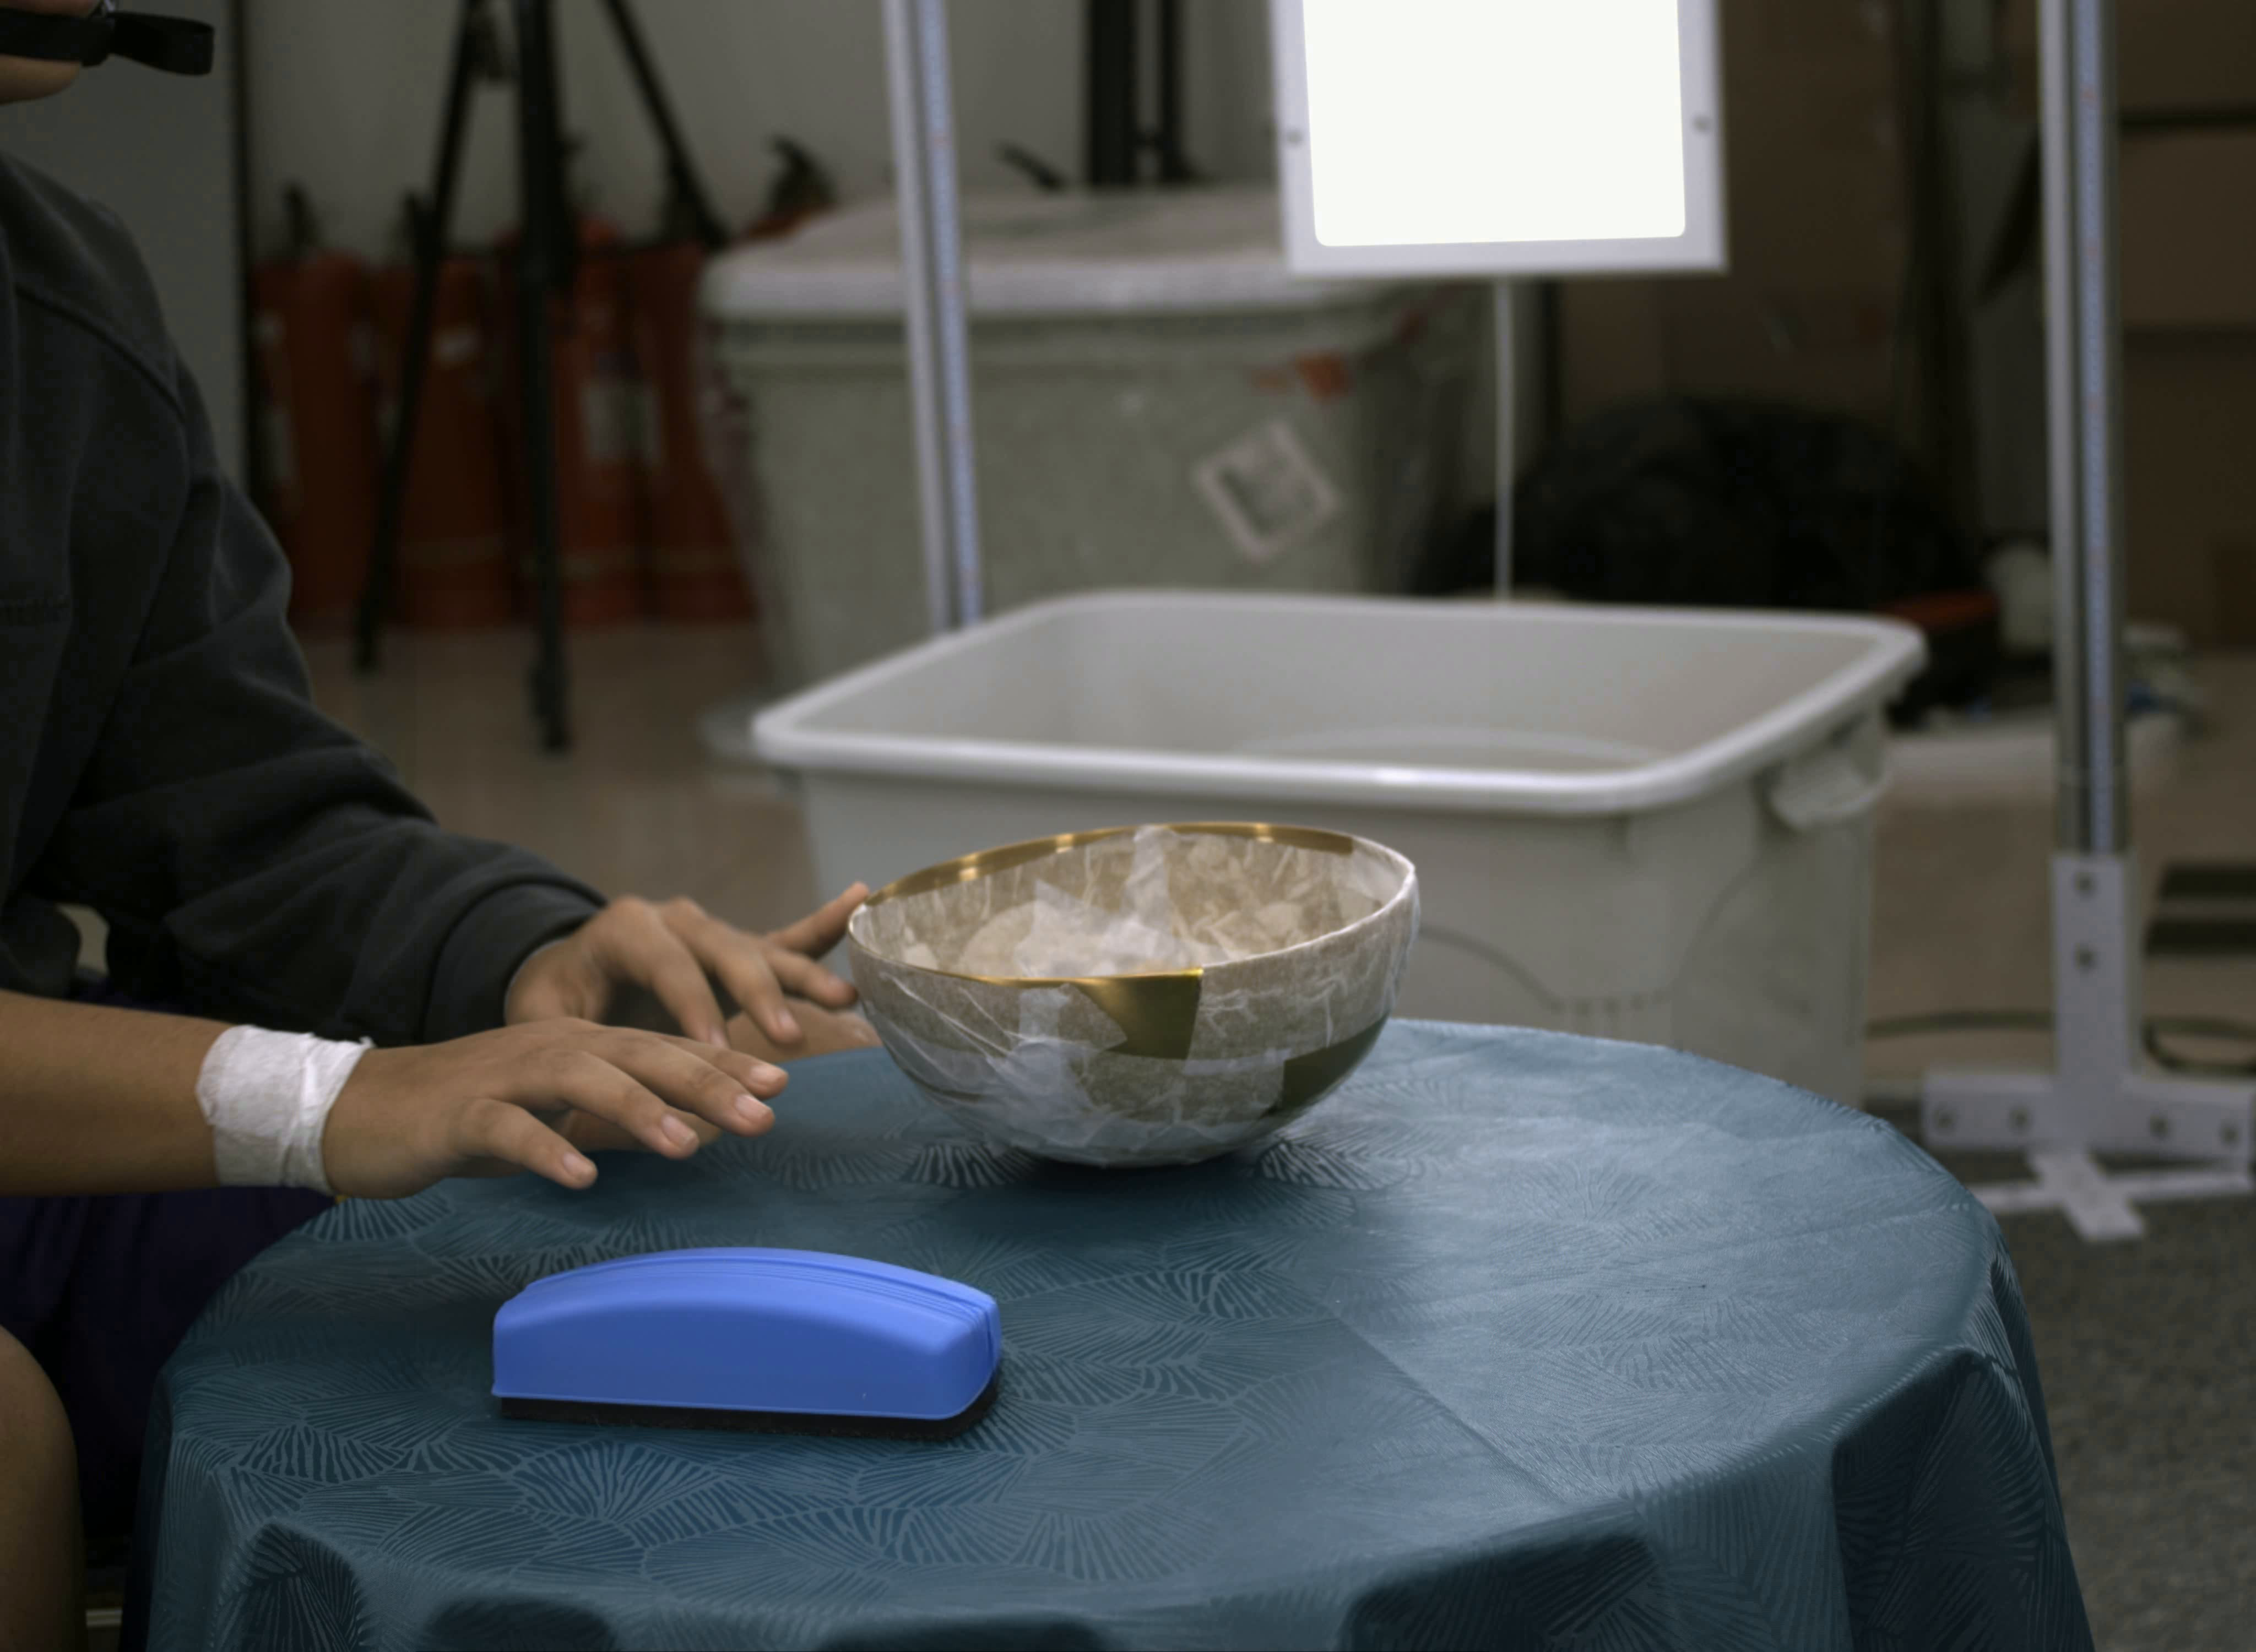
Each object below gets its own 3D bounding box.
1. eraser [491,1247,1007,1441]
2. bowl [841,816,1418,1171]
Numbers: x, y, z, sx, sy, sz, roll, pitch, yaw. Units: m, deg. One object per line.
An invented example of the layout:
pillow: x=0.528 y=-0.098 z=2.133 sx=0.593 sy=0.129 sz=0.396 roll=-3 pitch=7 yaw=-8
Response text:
eraser: x=-0.119 y=0.159 z=1.715 sx=0.164 sy=0.048 sz=0.053 roll=0 pitch=18 yaw=22
bowl: x=0.002 y=0.066 z=1.944 sx=0.214 sy=0.095 sz=0.214 roll=-6 pitch=15 yaw=0
